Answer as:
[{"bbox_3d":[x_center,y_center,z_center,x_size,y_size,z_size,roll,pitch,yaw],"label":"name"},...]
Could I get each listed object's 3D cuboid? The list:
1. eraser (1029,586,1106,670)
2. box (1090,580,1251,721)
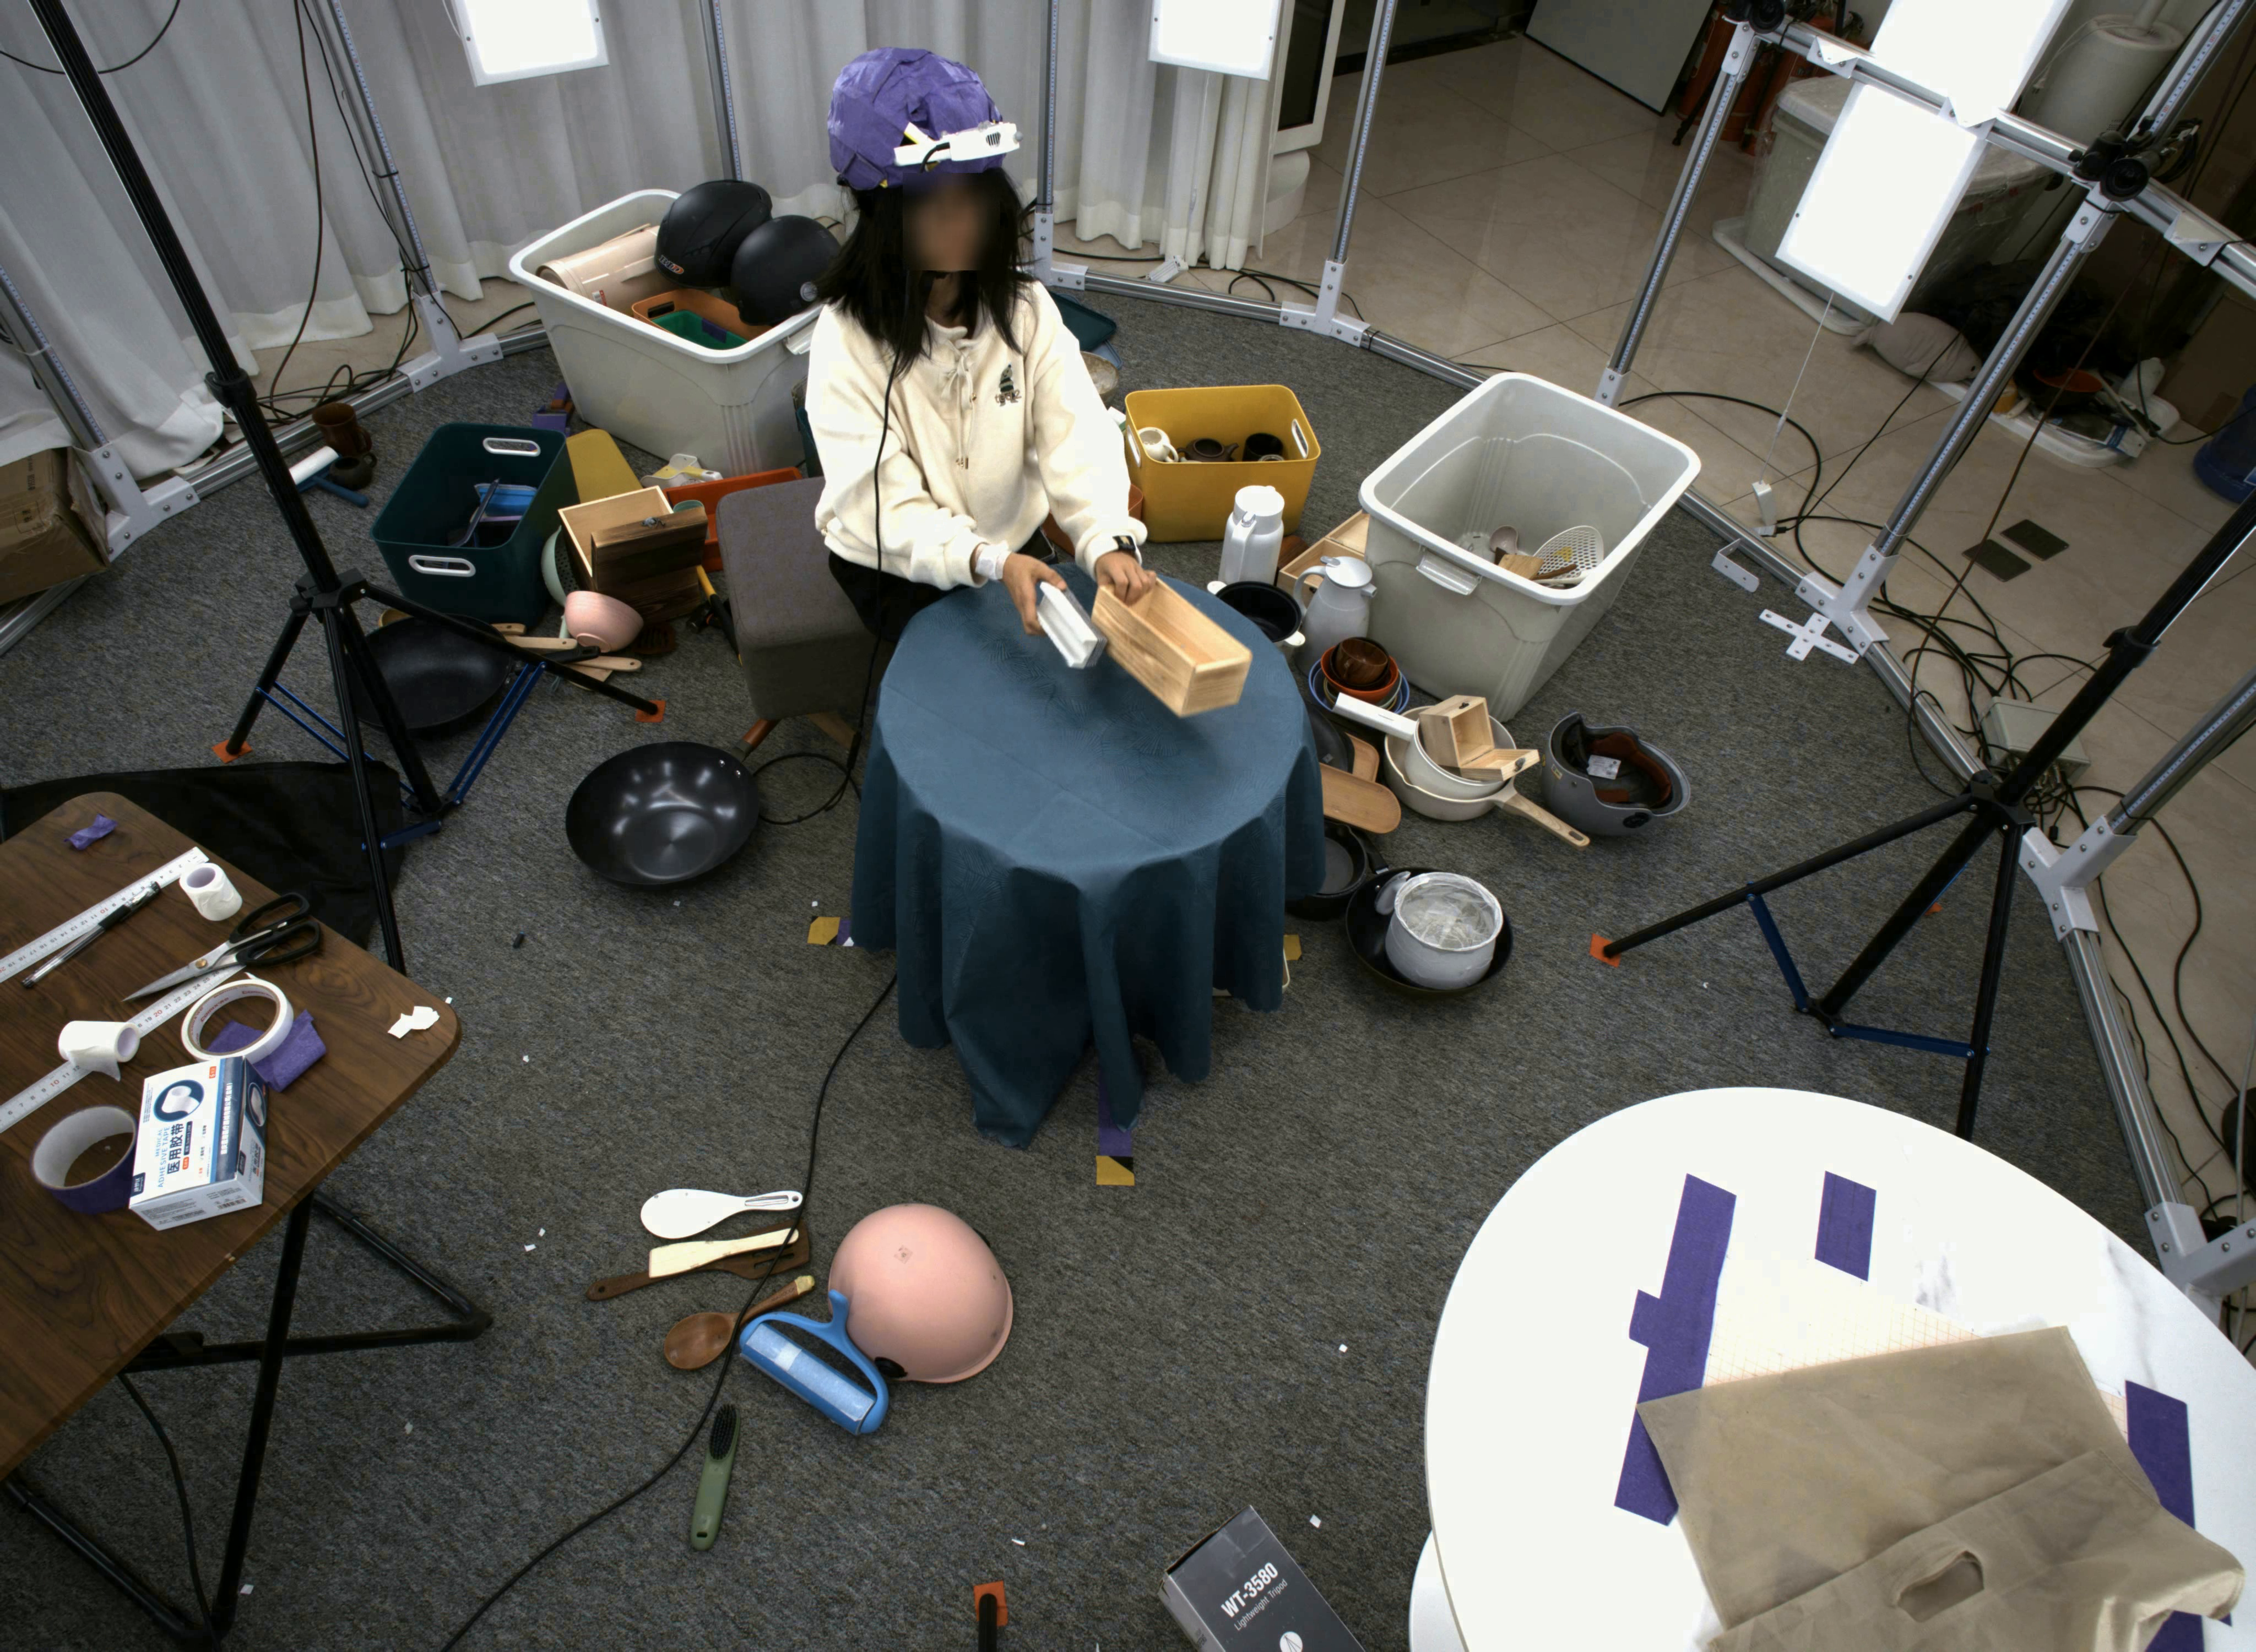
[{"bbox_3d":[-0.085,-0.277,1.796,0.046,0.049,0.137,-3,42,-38],"label":"eraser"},{"bbox_3d":[0.053,-0.243,1.750,0.108,0.078,0.215,-16,47,-36],"label":"box"}]
